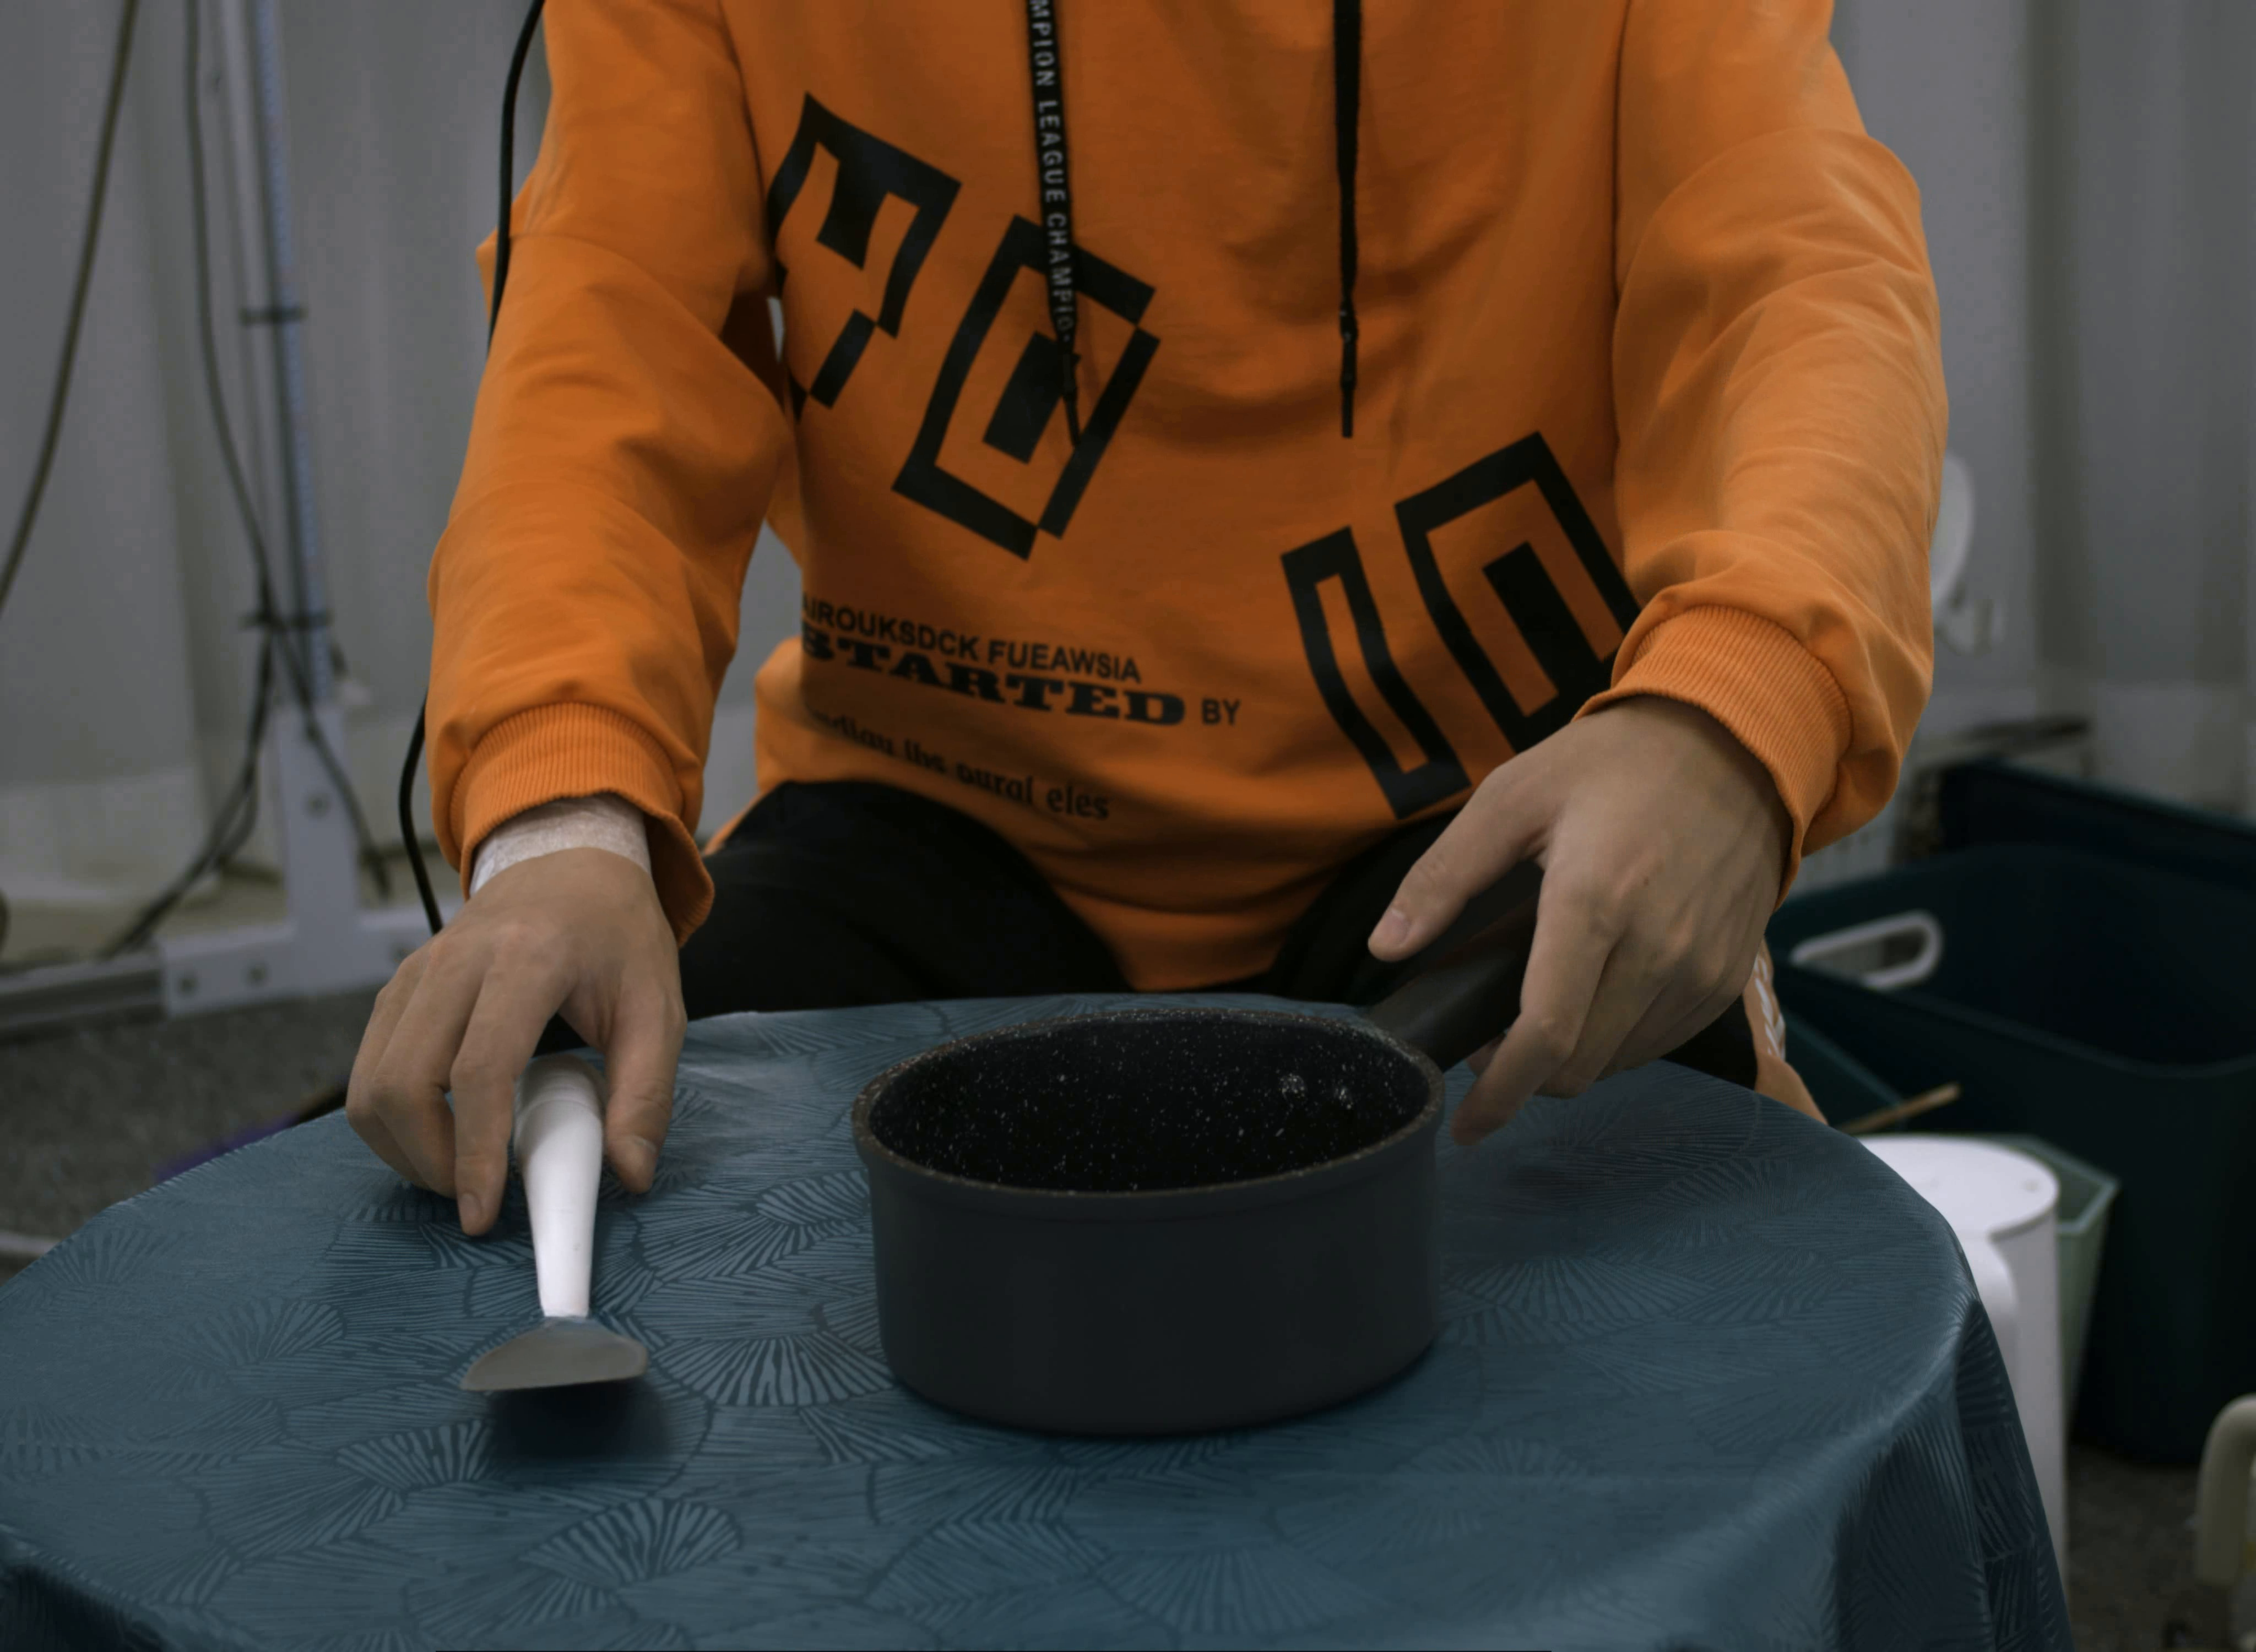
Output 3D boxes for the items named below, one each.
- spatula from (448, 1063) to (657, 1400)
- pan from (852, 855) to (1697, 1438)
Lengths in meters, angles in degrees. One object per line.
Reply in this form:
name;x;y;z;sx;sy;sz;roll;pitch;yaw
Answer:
spatula;-0.171;0.128;1.641;0.058;0.032;0.289;-1;14;-5
pan;0.060;0.091;1.628;0.173;0.086;0.328;11;22;41
